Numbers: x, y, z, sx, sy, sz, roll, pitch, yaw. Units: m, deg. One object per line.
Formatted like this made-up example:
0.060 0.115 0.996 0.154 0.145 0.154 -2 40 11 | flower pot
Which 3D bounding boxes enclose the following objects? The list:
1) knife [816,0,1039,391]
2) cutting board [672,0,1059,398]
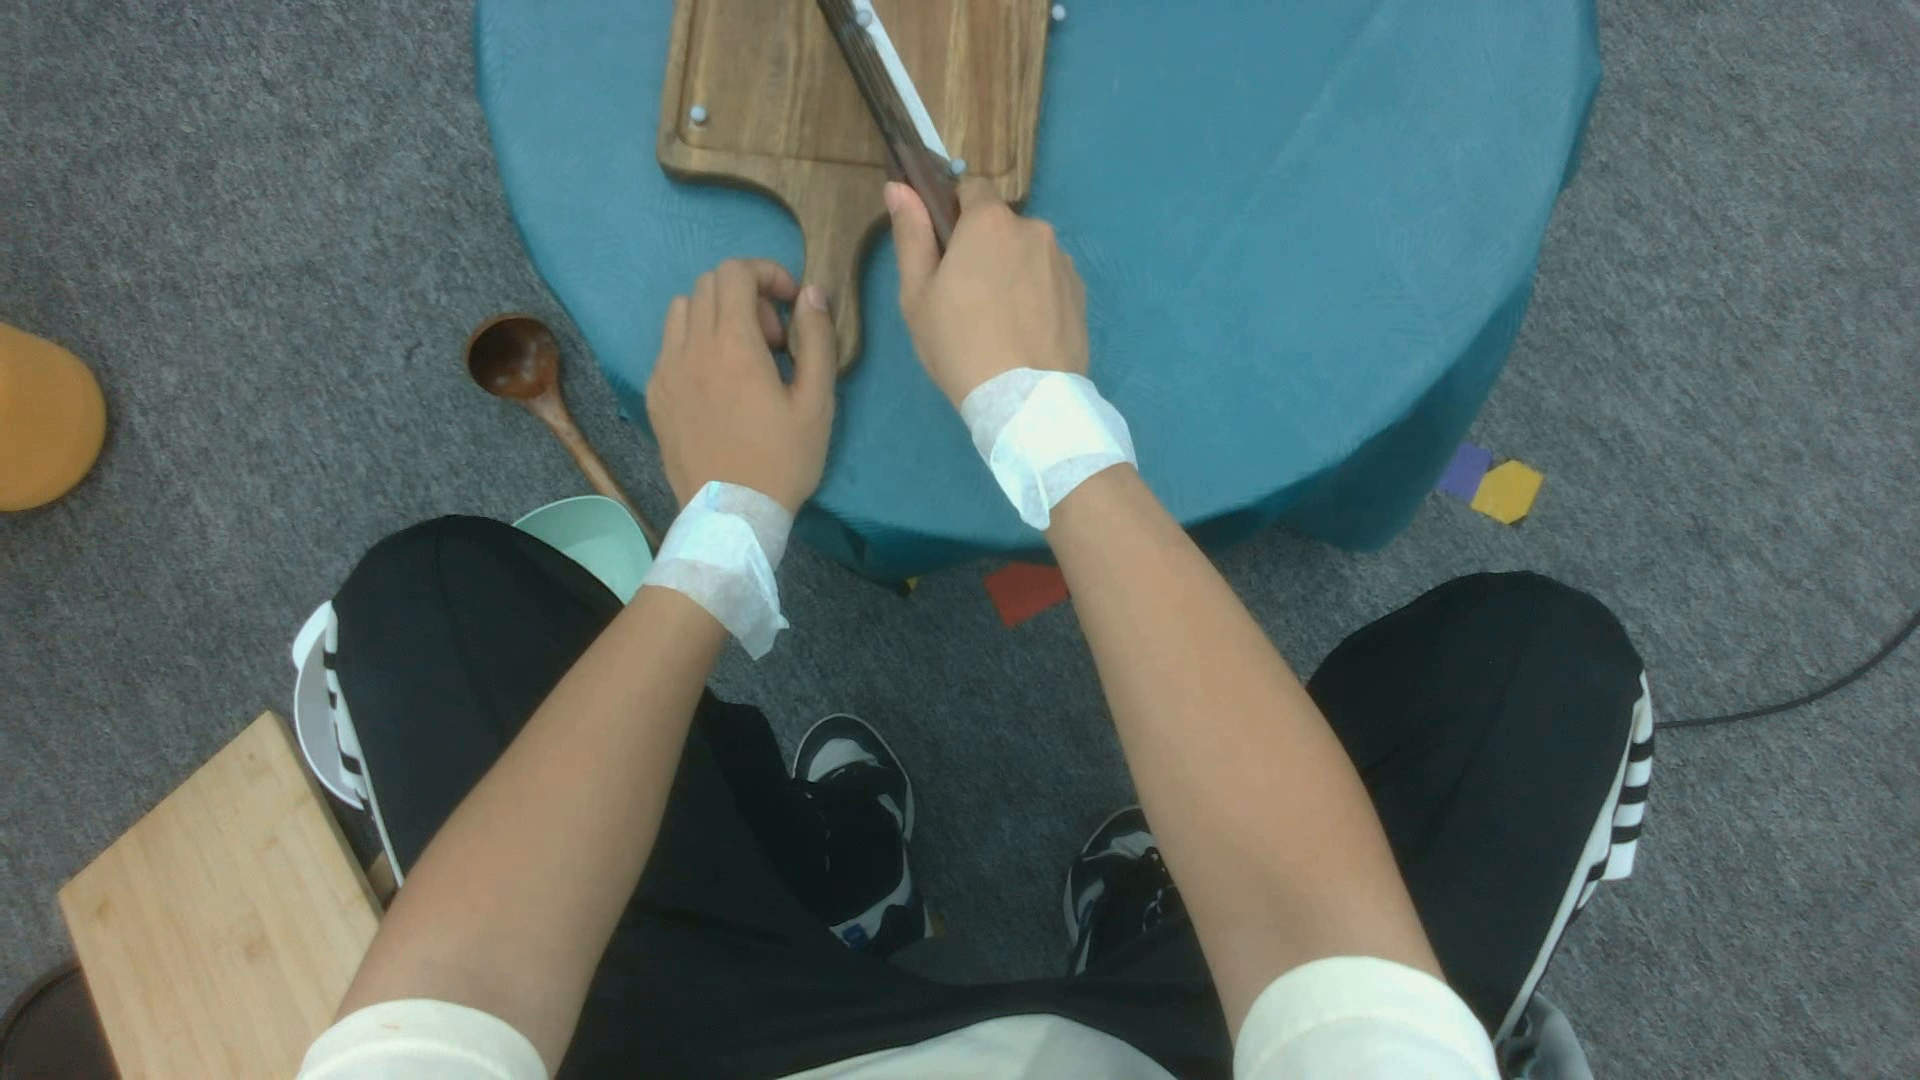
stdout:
-0.023 -0.204 0.700 0.024 0.068 0.300 -32 75 26 | knife
-0.050 -0.250 0.749 0.201 0.023 0.352 6 81 3 | cutting board
